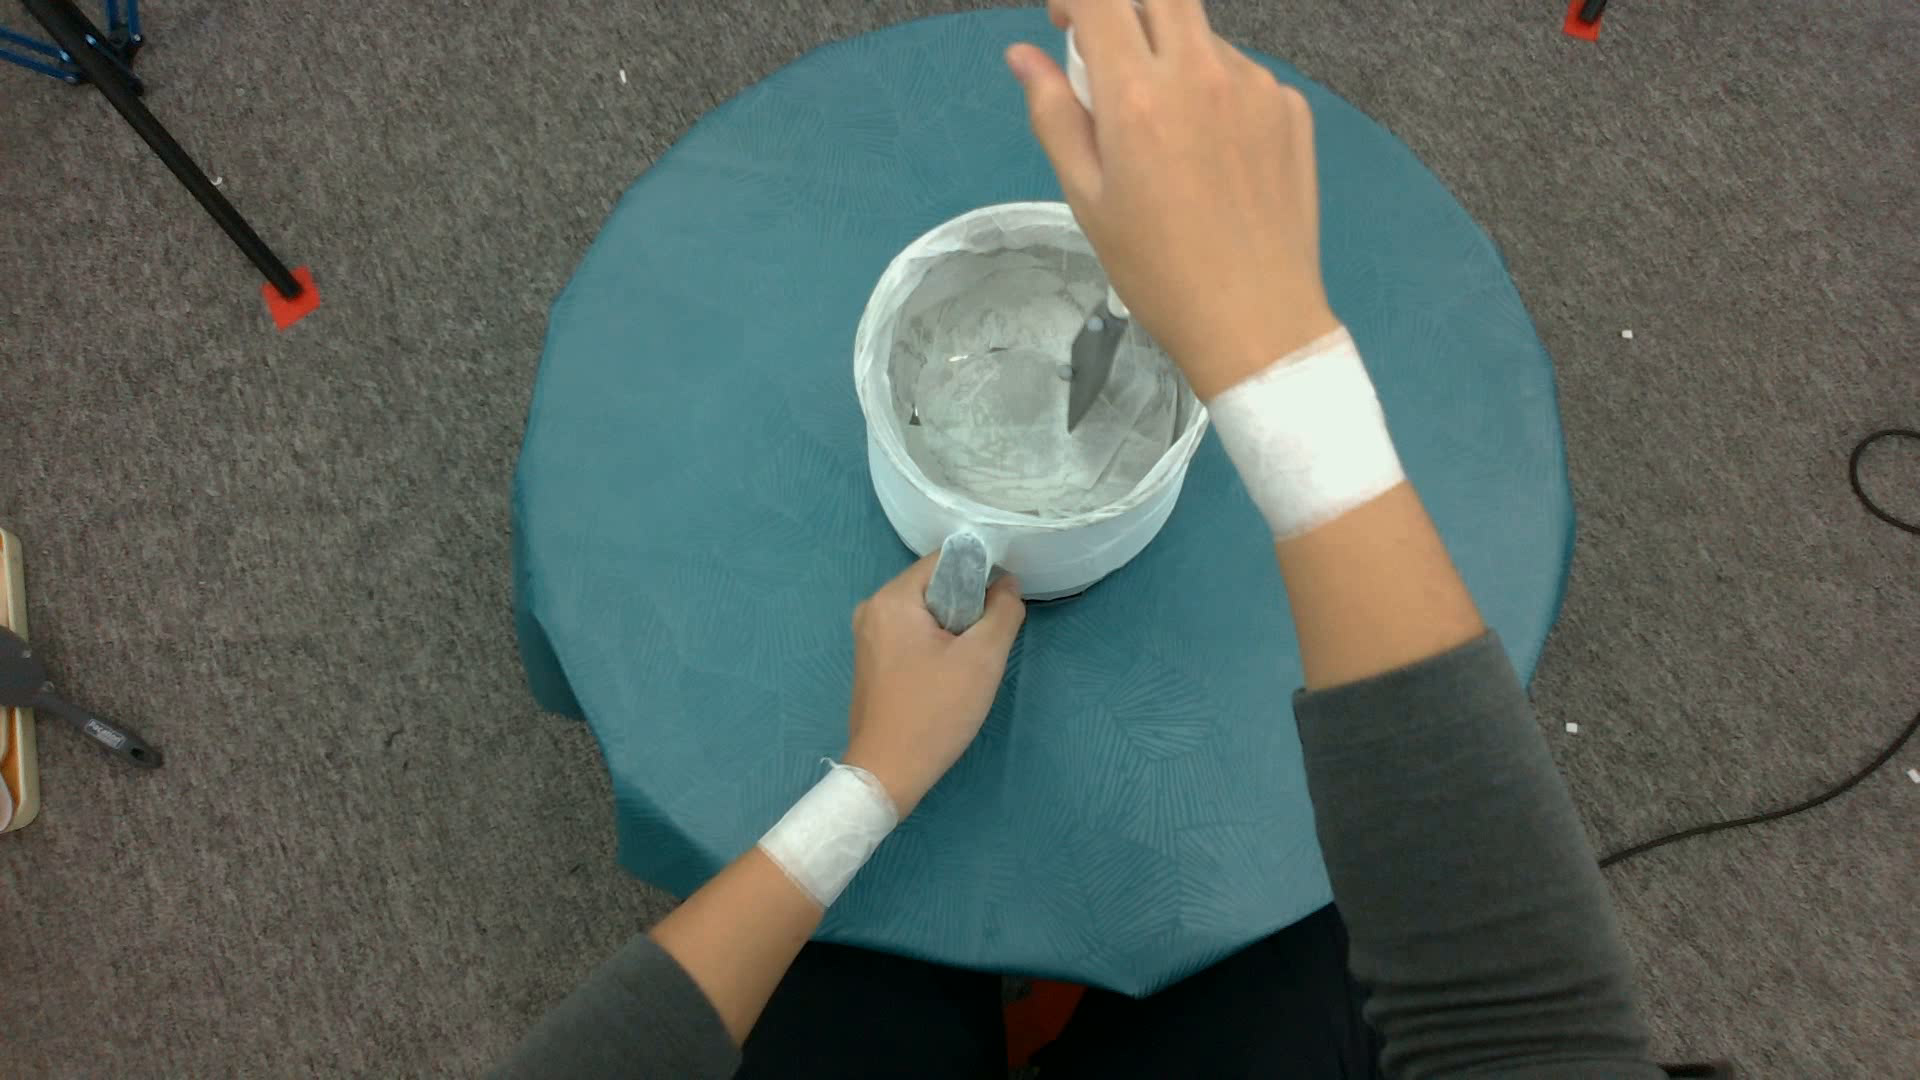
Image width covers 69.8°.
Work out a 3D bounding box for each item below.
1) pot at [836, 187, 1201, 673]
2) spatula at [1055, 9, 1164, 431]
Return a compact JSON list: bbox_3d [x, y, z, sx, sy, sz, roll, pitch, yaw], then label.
[{"bbox_3d":[0.019,-0.049,0.717,0.178,0.136,0.234,17,72,5],"label":"pot"},{"bbox_3d":[0.058,-0.124,0.605,0.032,0.287,0.059,1,72,2],"label":"spatula"}]
